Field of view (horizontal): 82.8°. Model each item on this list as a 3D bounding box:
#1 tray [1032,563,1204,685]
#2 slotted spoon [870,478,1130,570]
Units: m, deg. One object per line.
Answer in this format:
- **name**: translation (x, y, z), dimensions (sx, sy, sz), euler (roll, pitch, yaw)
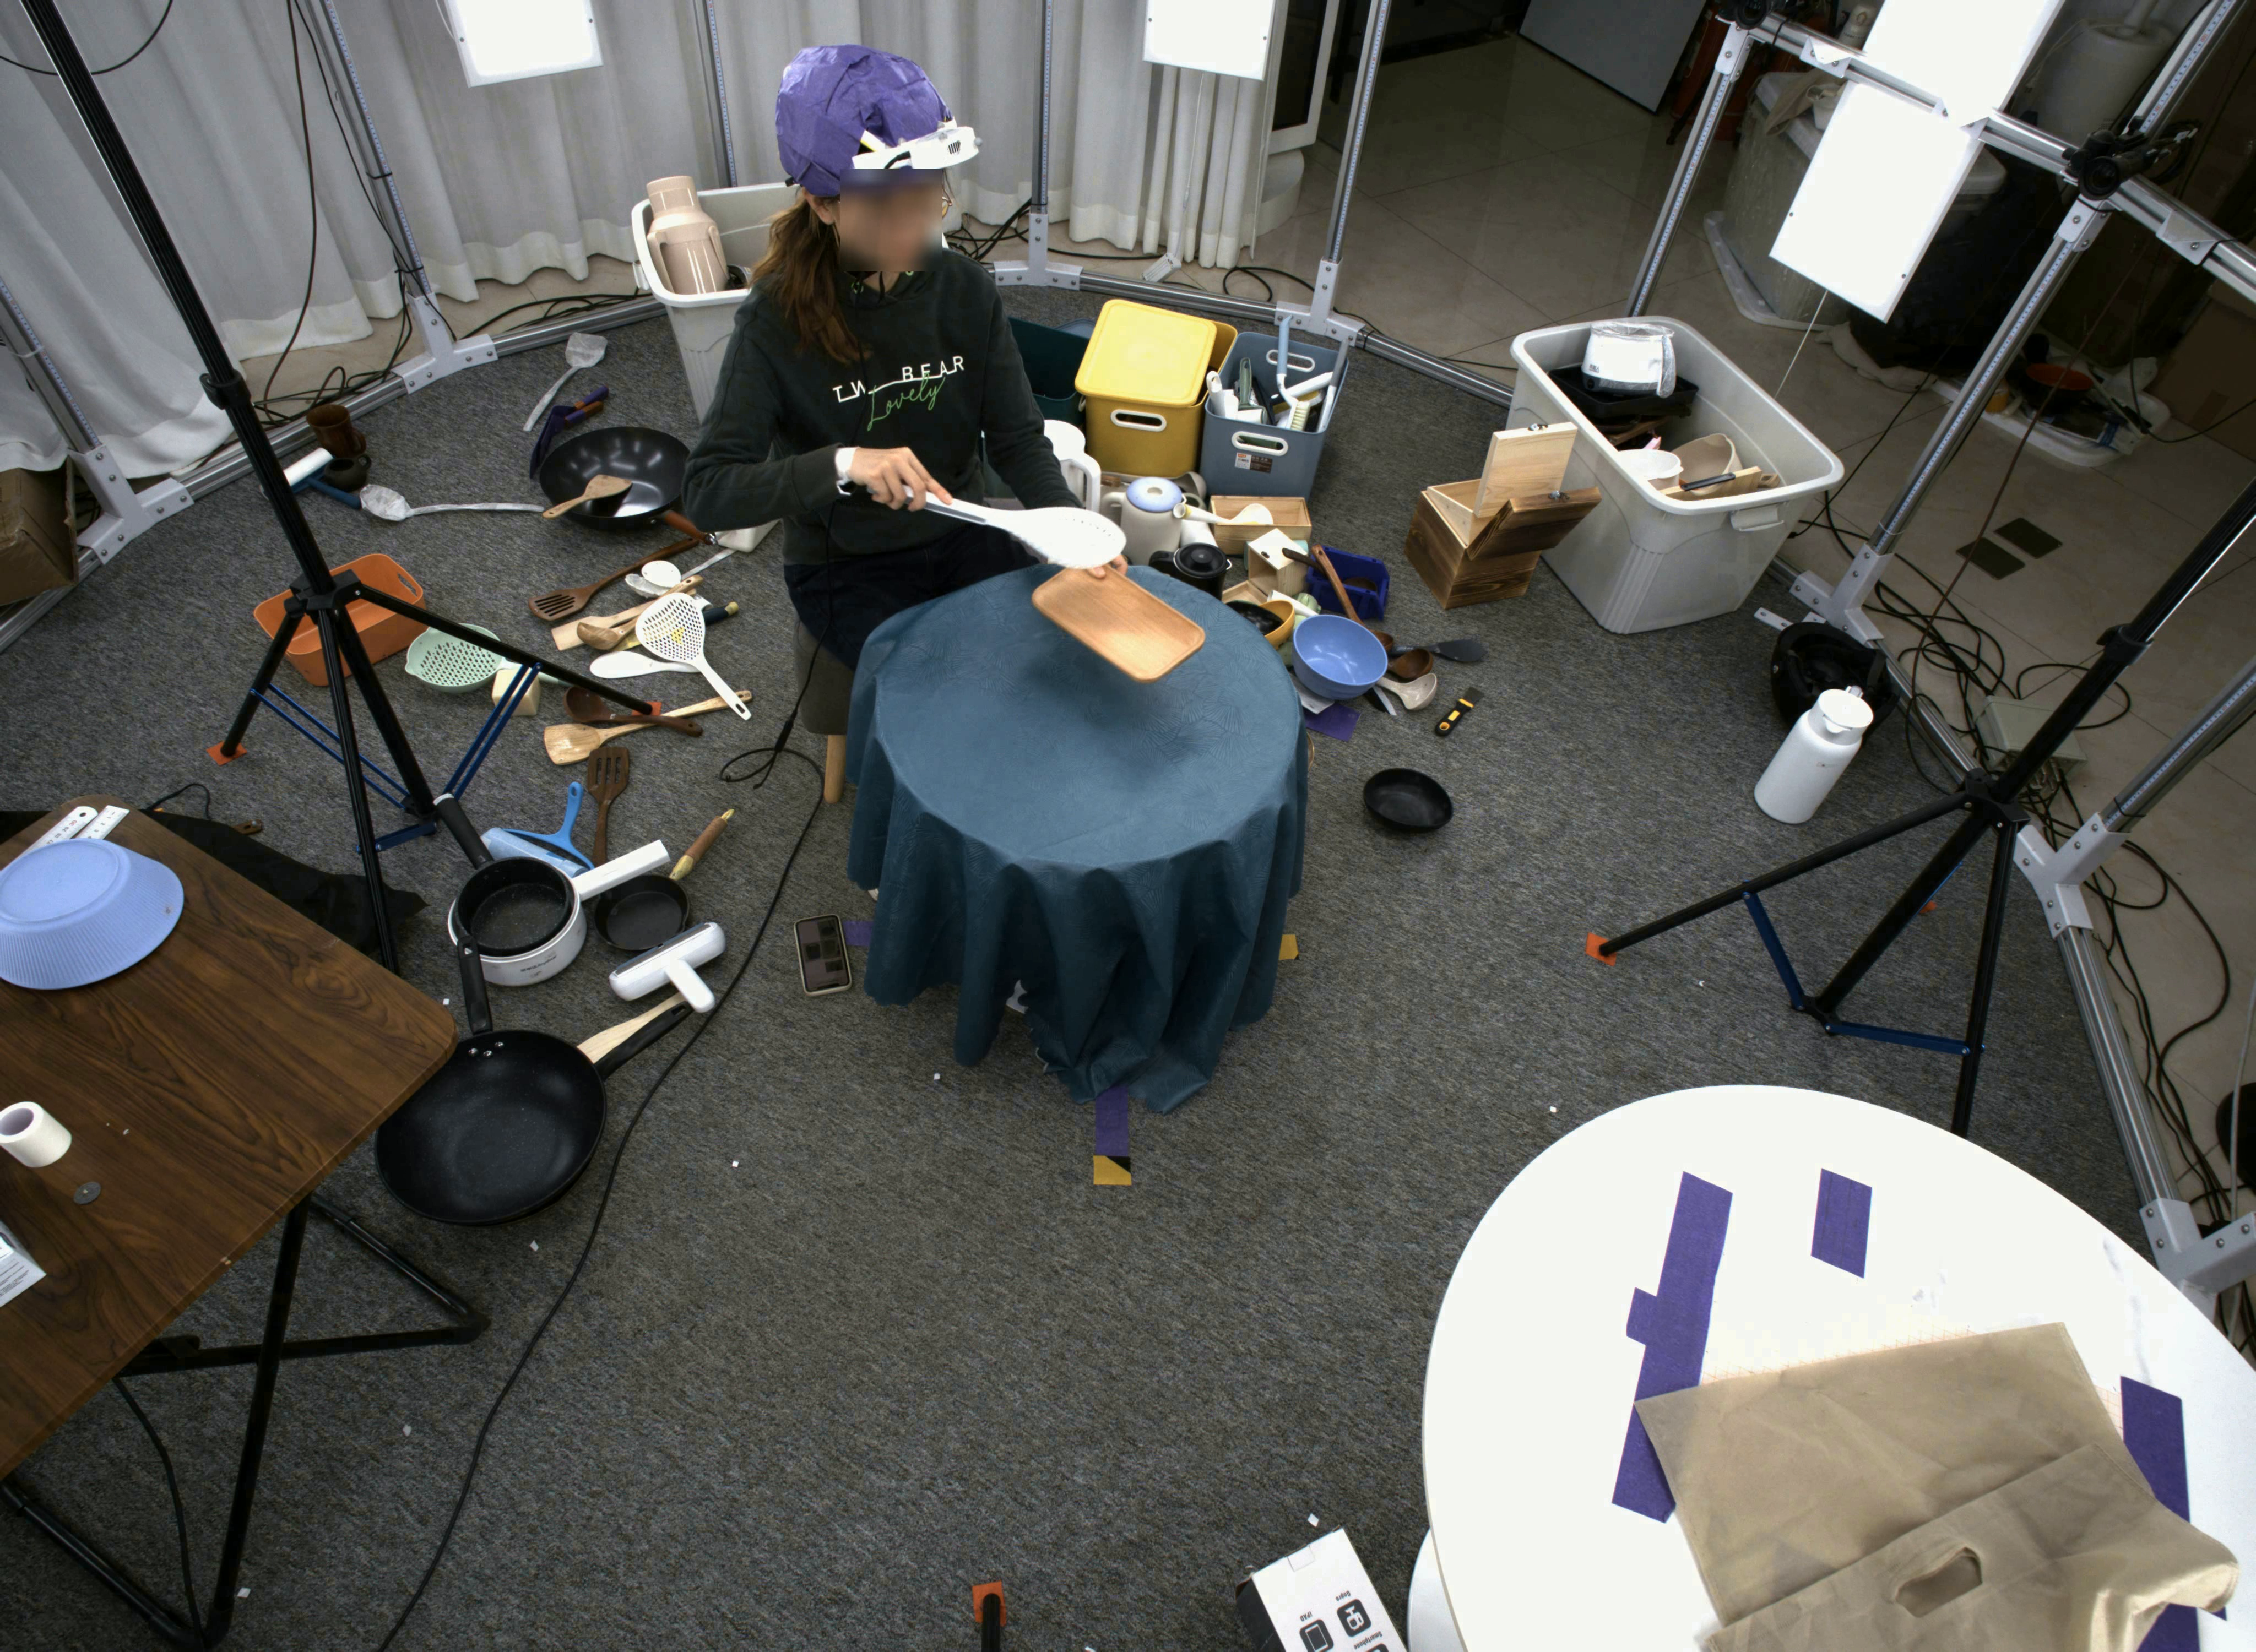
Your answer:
- **tray**: translation (-0.016, -0.285, 1.790), dimensions (0.131, 0.022, 0.255), euler (-36, 55, -24)
- **slotted spoon**: translation (-0.170, -0.410, 1.730), dimensions (0.349, 0.134, 0.046), euler (17, 69, -5)
